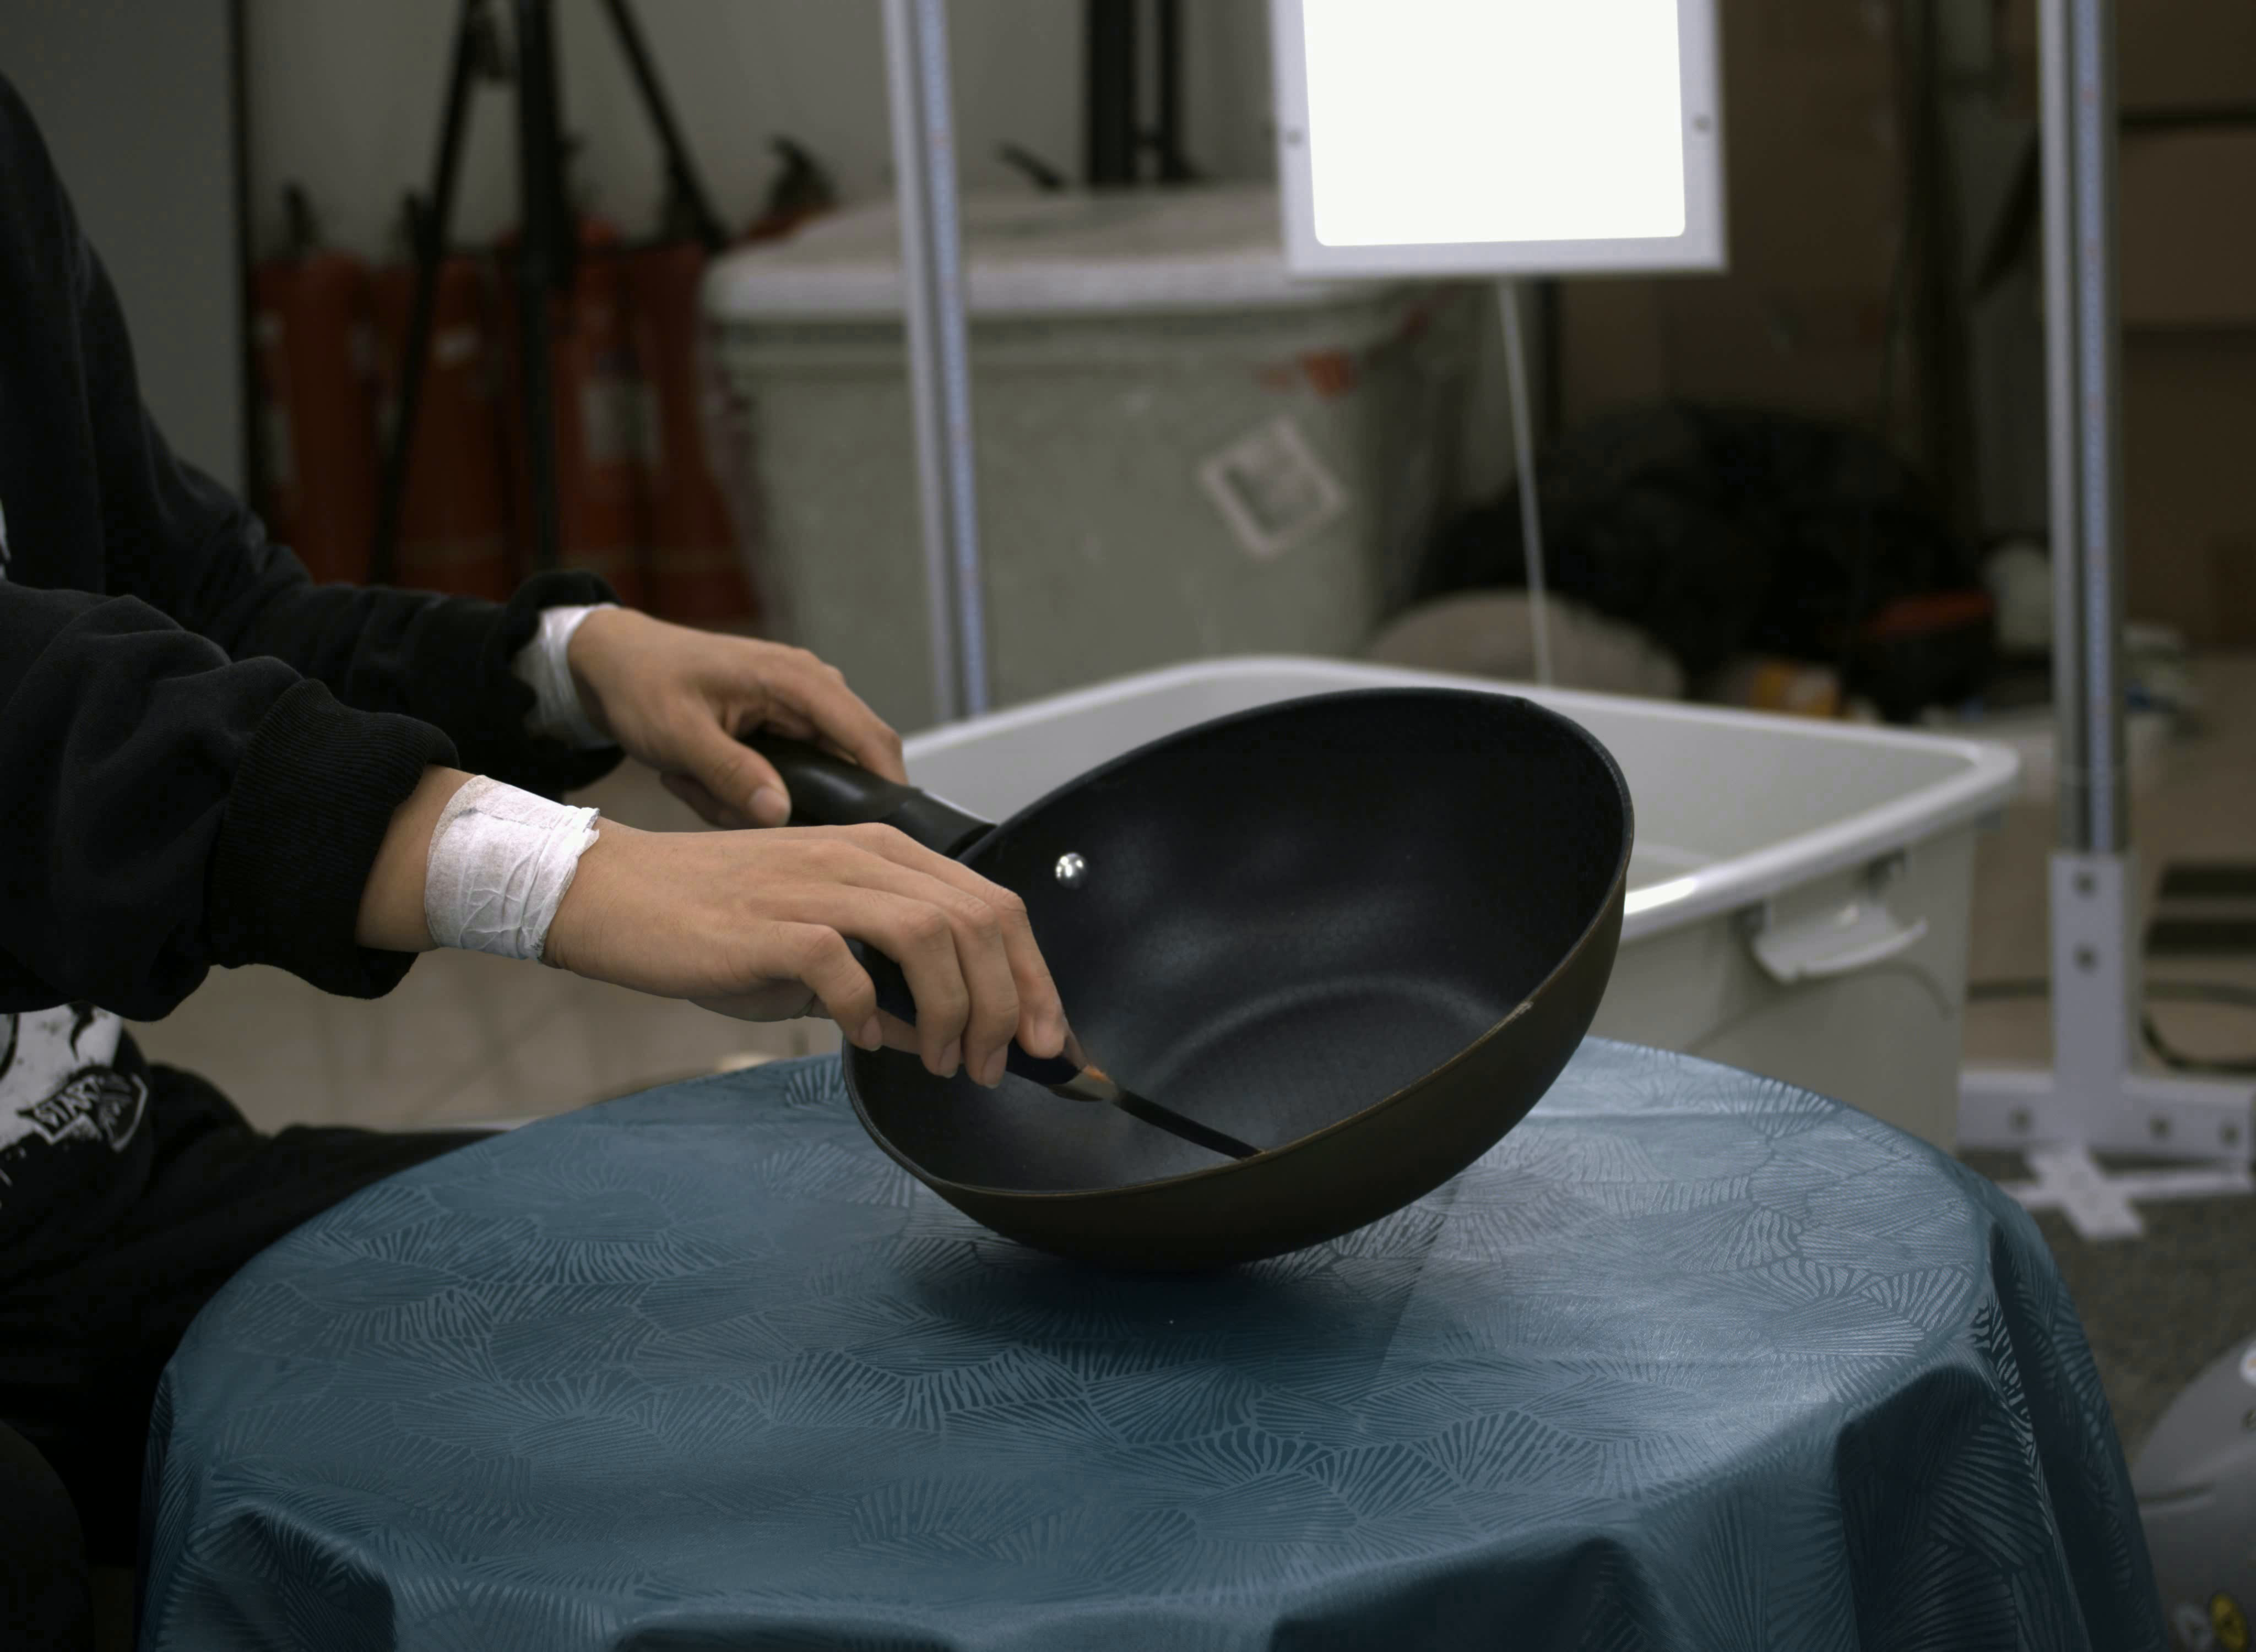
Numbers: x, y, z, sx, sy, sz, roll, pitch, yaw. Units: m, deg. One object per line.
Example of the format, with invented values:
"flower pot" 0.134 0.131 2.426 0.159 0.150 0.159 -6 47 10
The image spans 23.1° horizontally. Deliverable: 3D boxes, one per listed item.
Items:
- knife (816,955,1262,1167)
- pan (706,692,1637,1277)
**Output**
"knife" -0.012 0.082 1.697 0.221 0.017 0.027 26 -28 -37
"pan" -0.007 0.047 1.927 0.283 0.086 0.472 -38 31 -24
